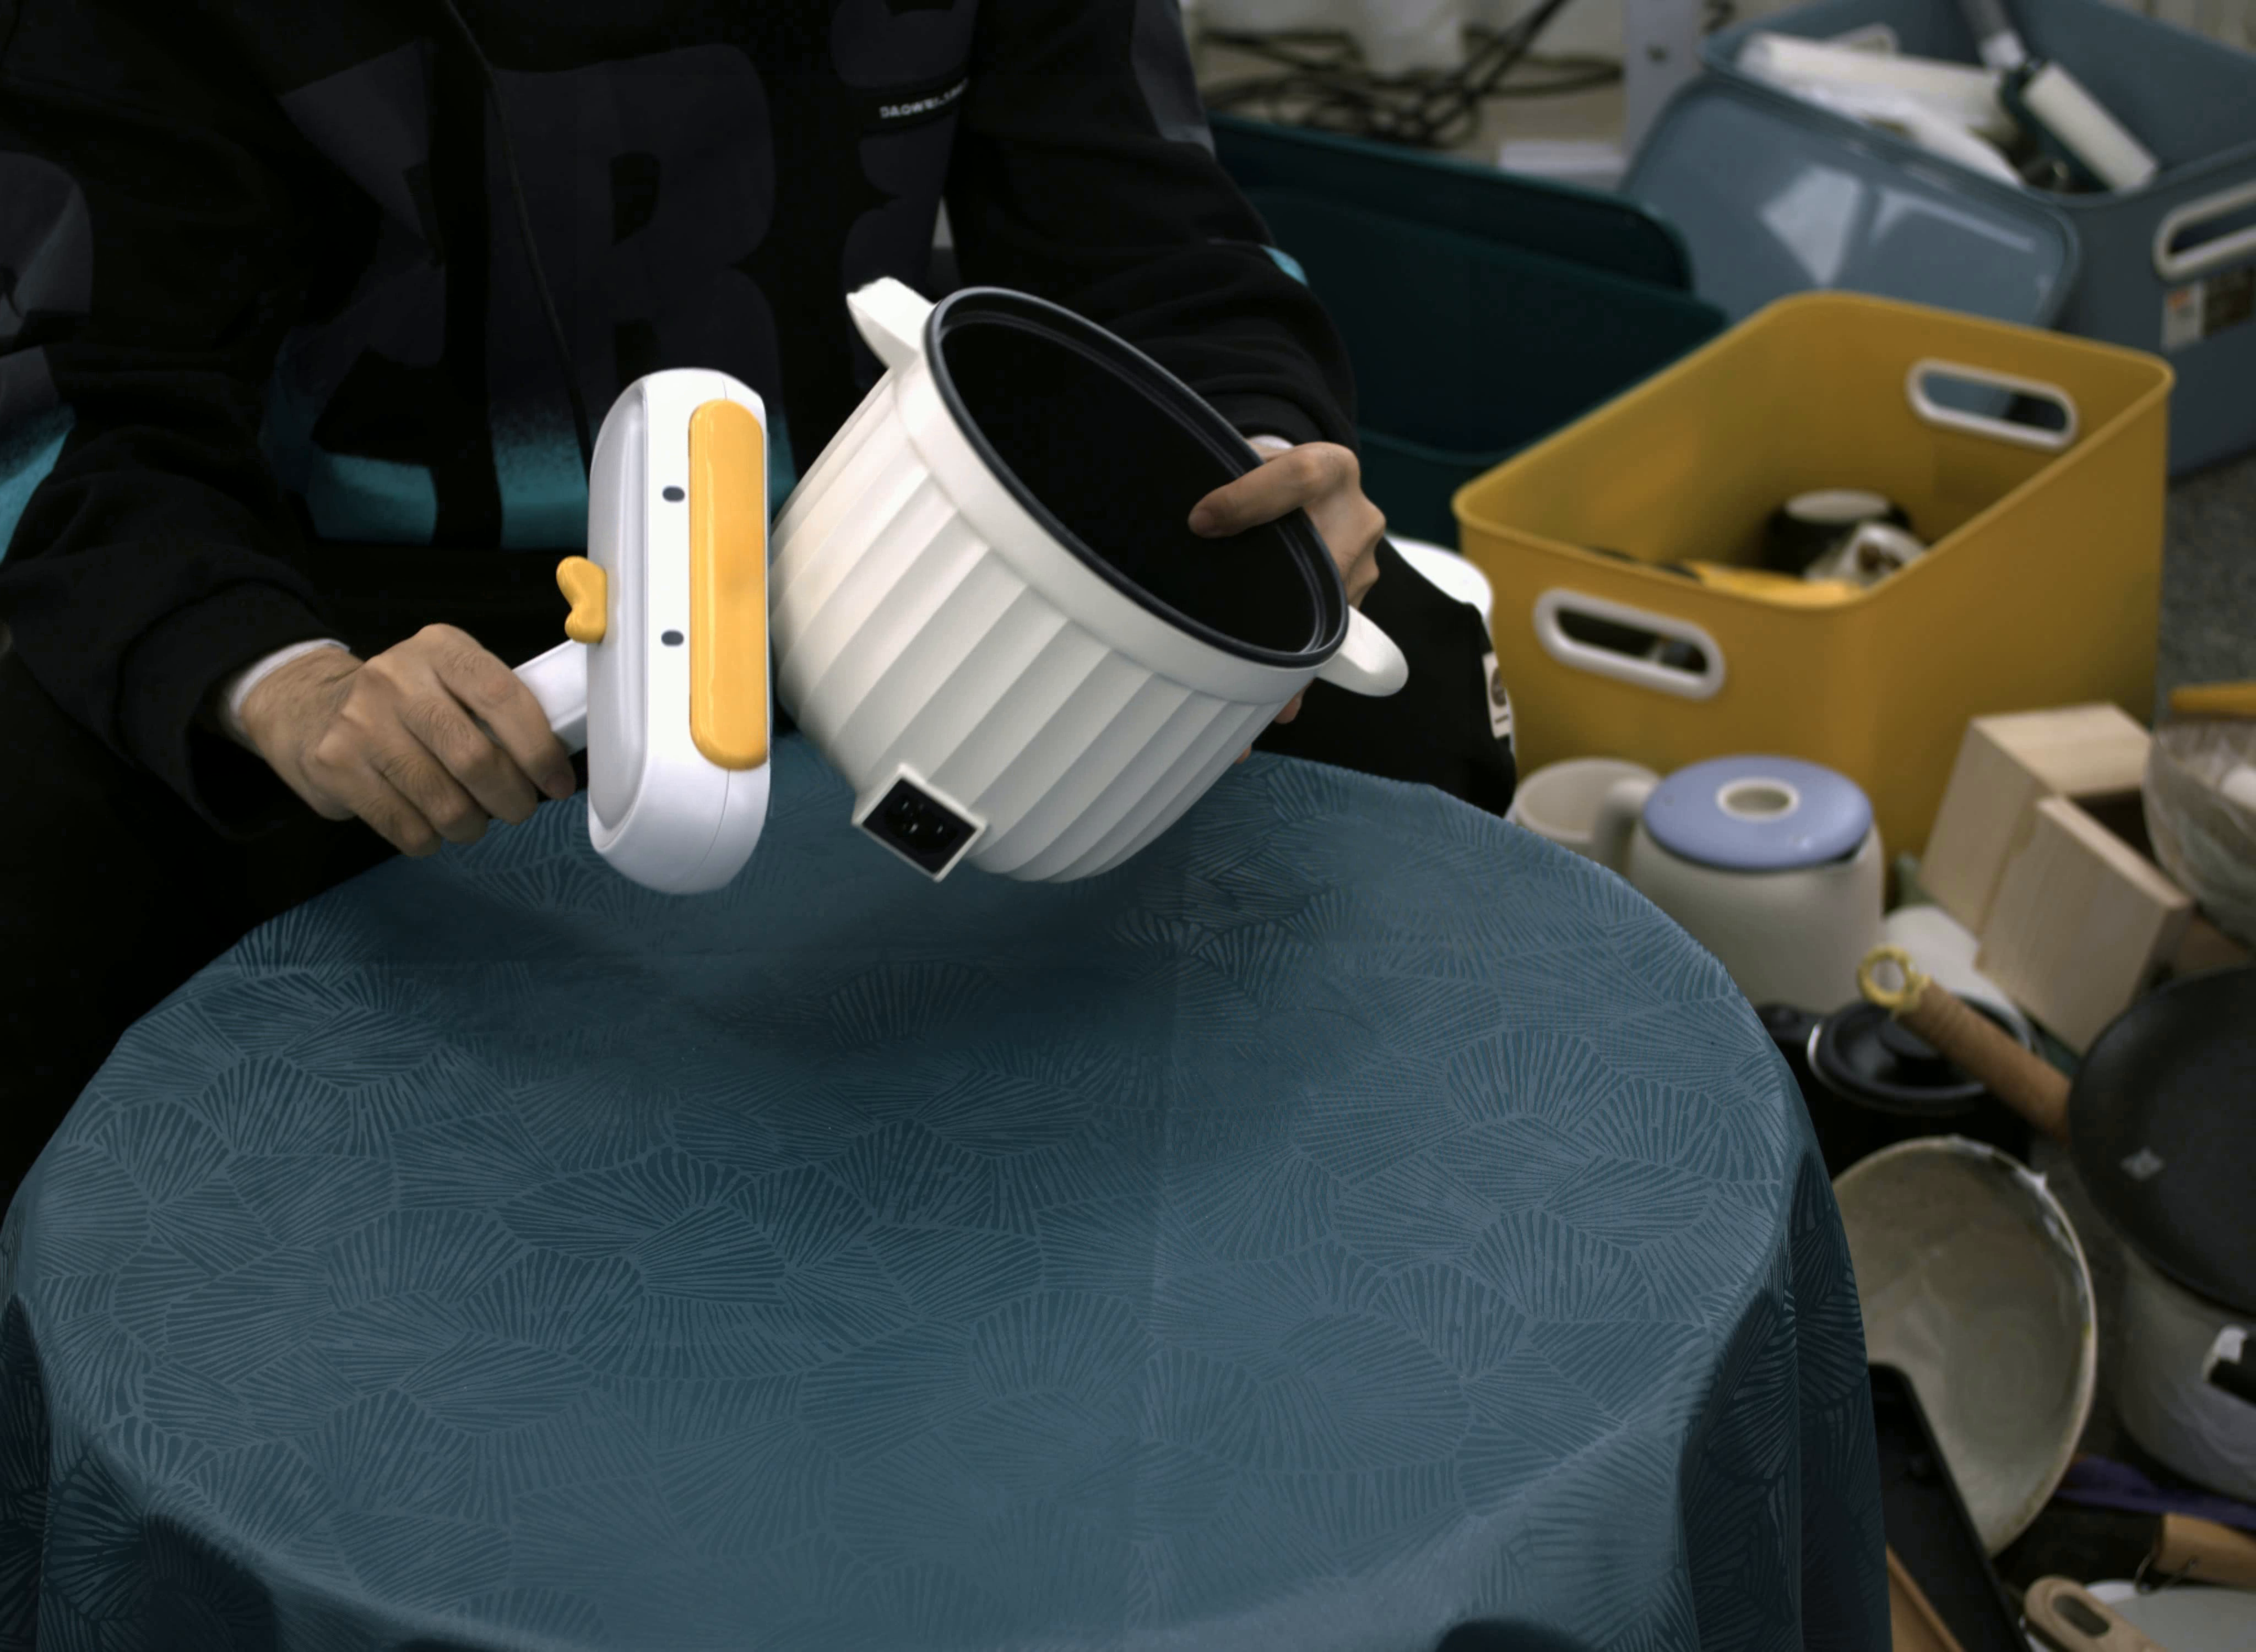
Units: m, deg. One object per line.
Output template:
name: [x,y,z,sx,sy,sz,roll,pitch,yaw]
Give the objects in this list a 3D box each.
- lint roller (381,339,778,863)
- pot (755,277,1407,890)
lint roller: [-0.190,-0.050,1.945,0.074,0.189,0.196,13,52,-33]
pot: [-0.037,-0.077,1.949,0.239,0.141,0.194,35,27,-15]
